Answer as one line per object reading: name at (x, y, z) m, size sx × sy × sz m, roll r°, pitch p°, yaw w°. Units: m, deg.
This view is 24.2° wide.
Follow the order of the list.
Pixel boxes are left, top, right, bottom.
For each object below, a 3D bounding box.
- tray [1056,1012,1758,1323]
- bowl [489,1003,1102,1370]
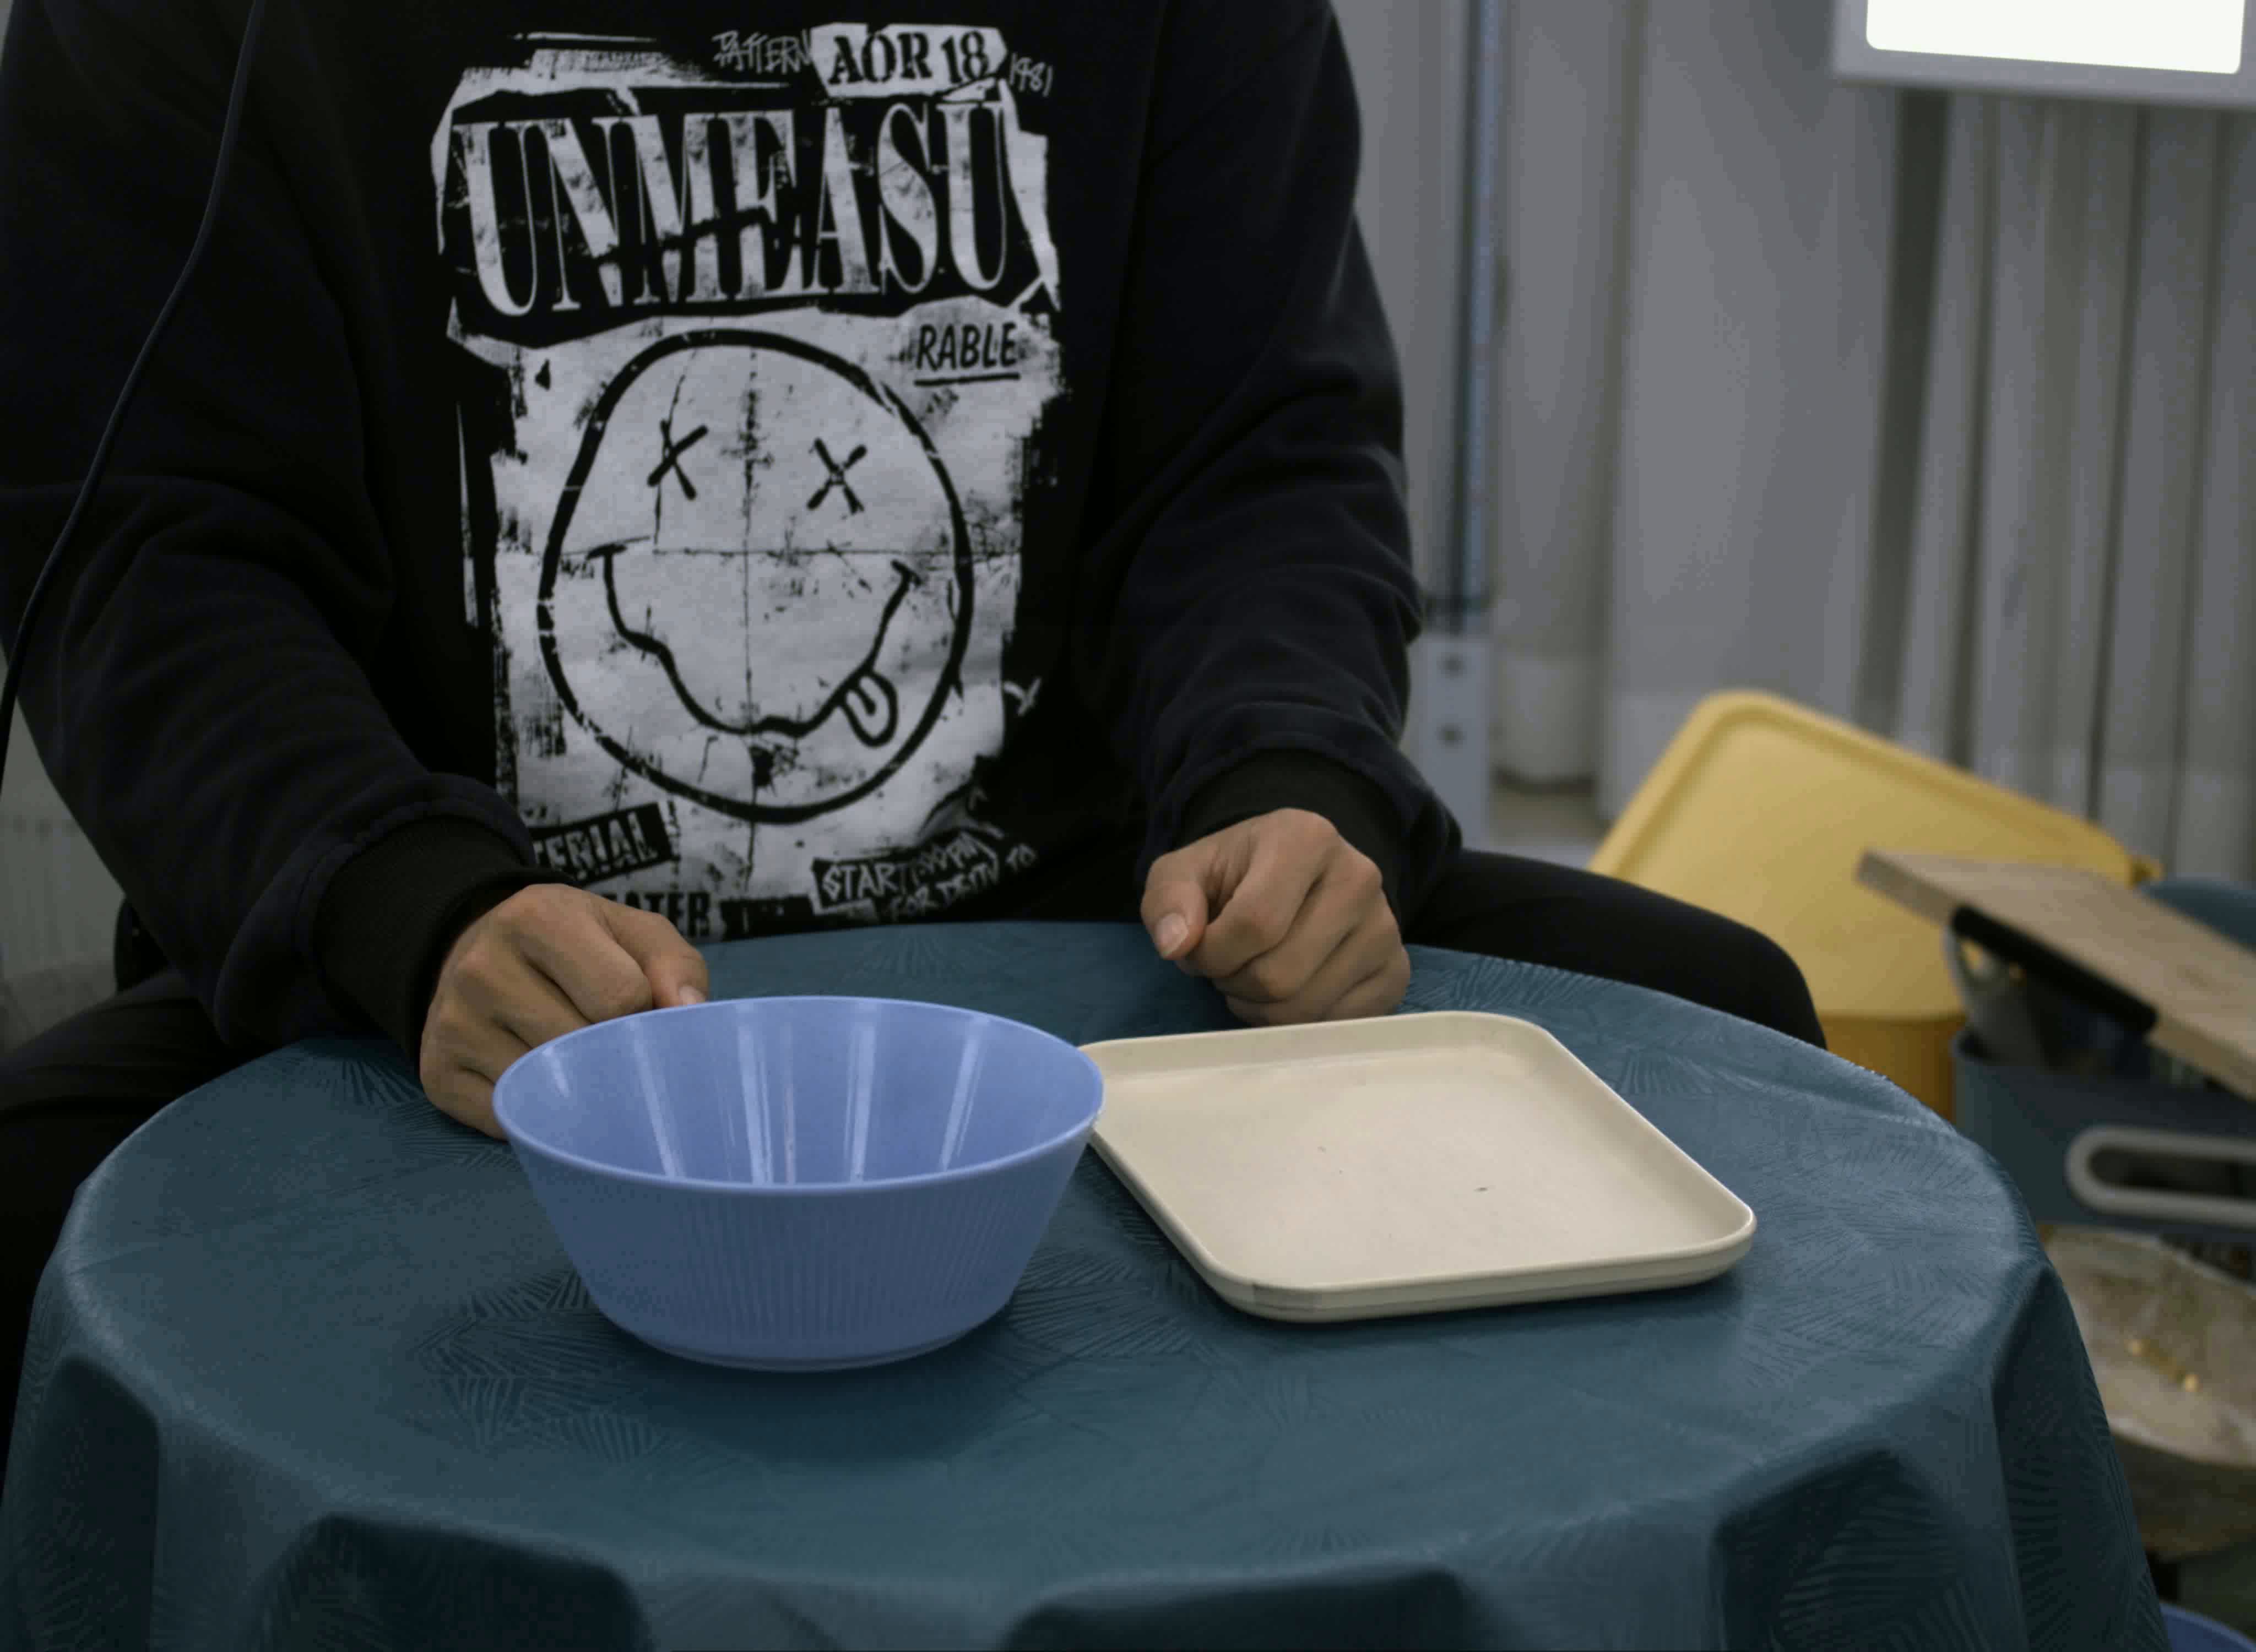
tray at (0.080, 0.104, 1.627) m, size 0.171 × 0.017 × 0.237 m, roll -3°, pitch 16°, yaw -16°
bowl at (-0.096, 0.106, 1.516) m, size 0.175 × 0.071 × 0.175 m, roll 2°, pitch 15°, yaw 0°
